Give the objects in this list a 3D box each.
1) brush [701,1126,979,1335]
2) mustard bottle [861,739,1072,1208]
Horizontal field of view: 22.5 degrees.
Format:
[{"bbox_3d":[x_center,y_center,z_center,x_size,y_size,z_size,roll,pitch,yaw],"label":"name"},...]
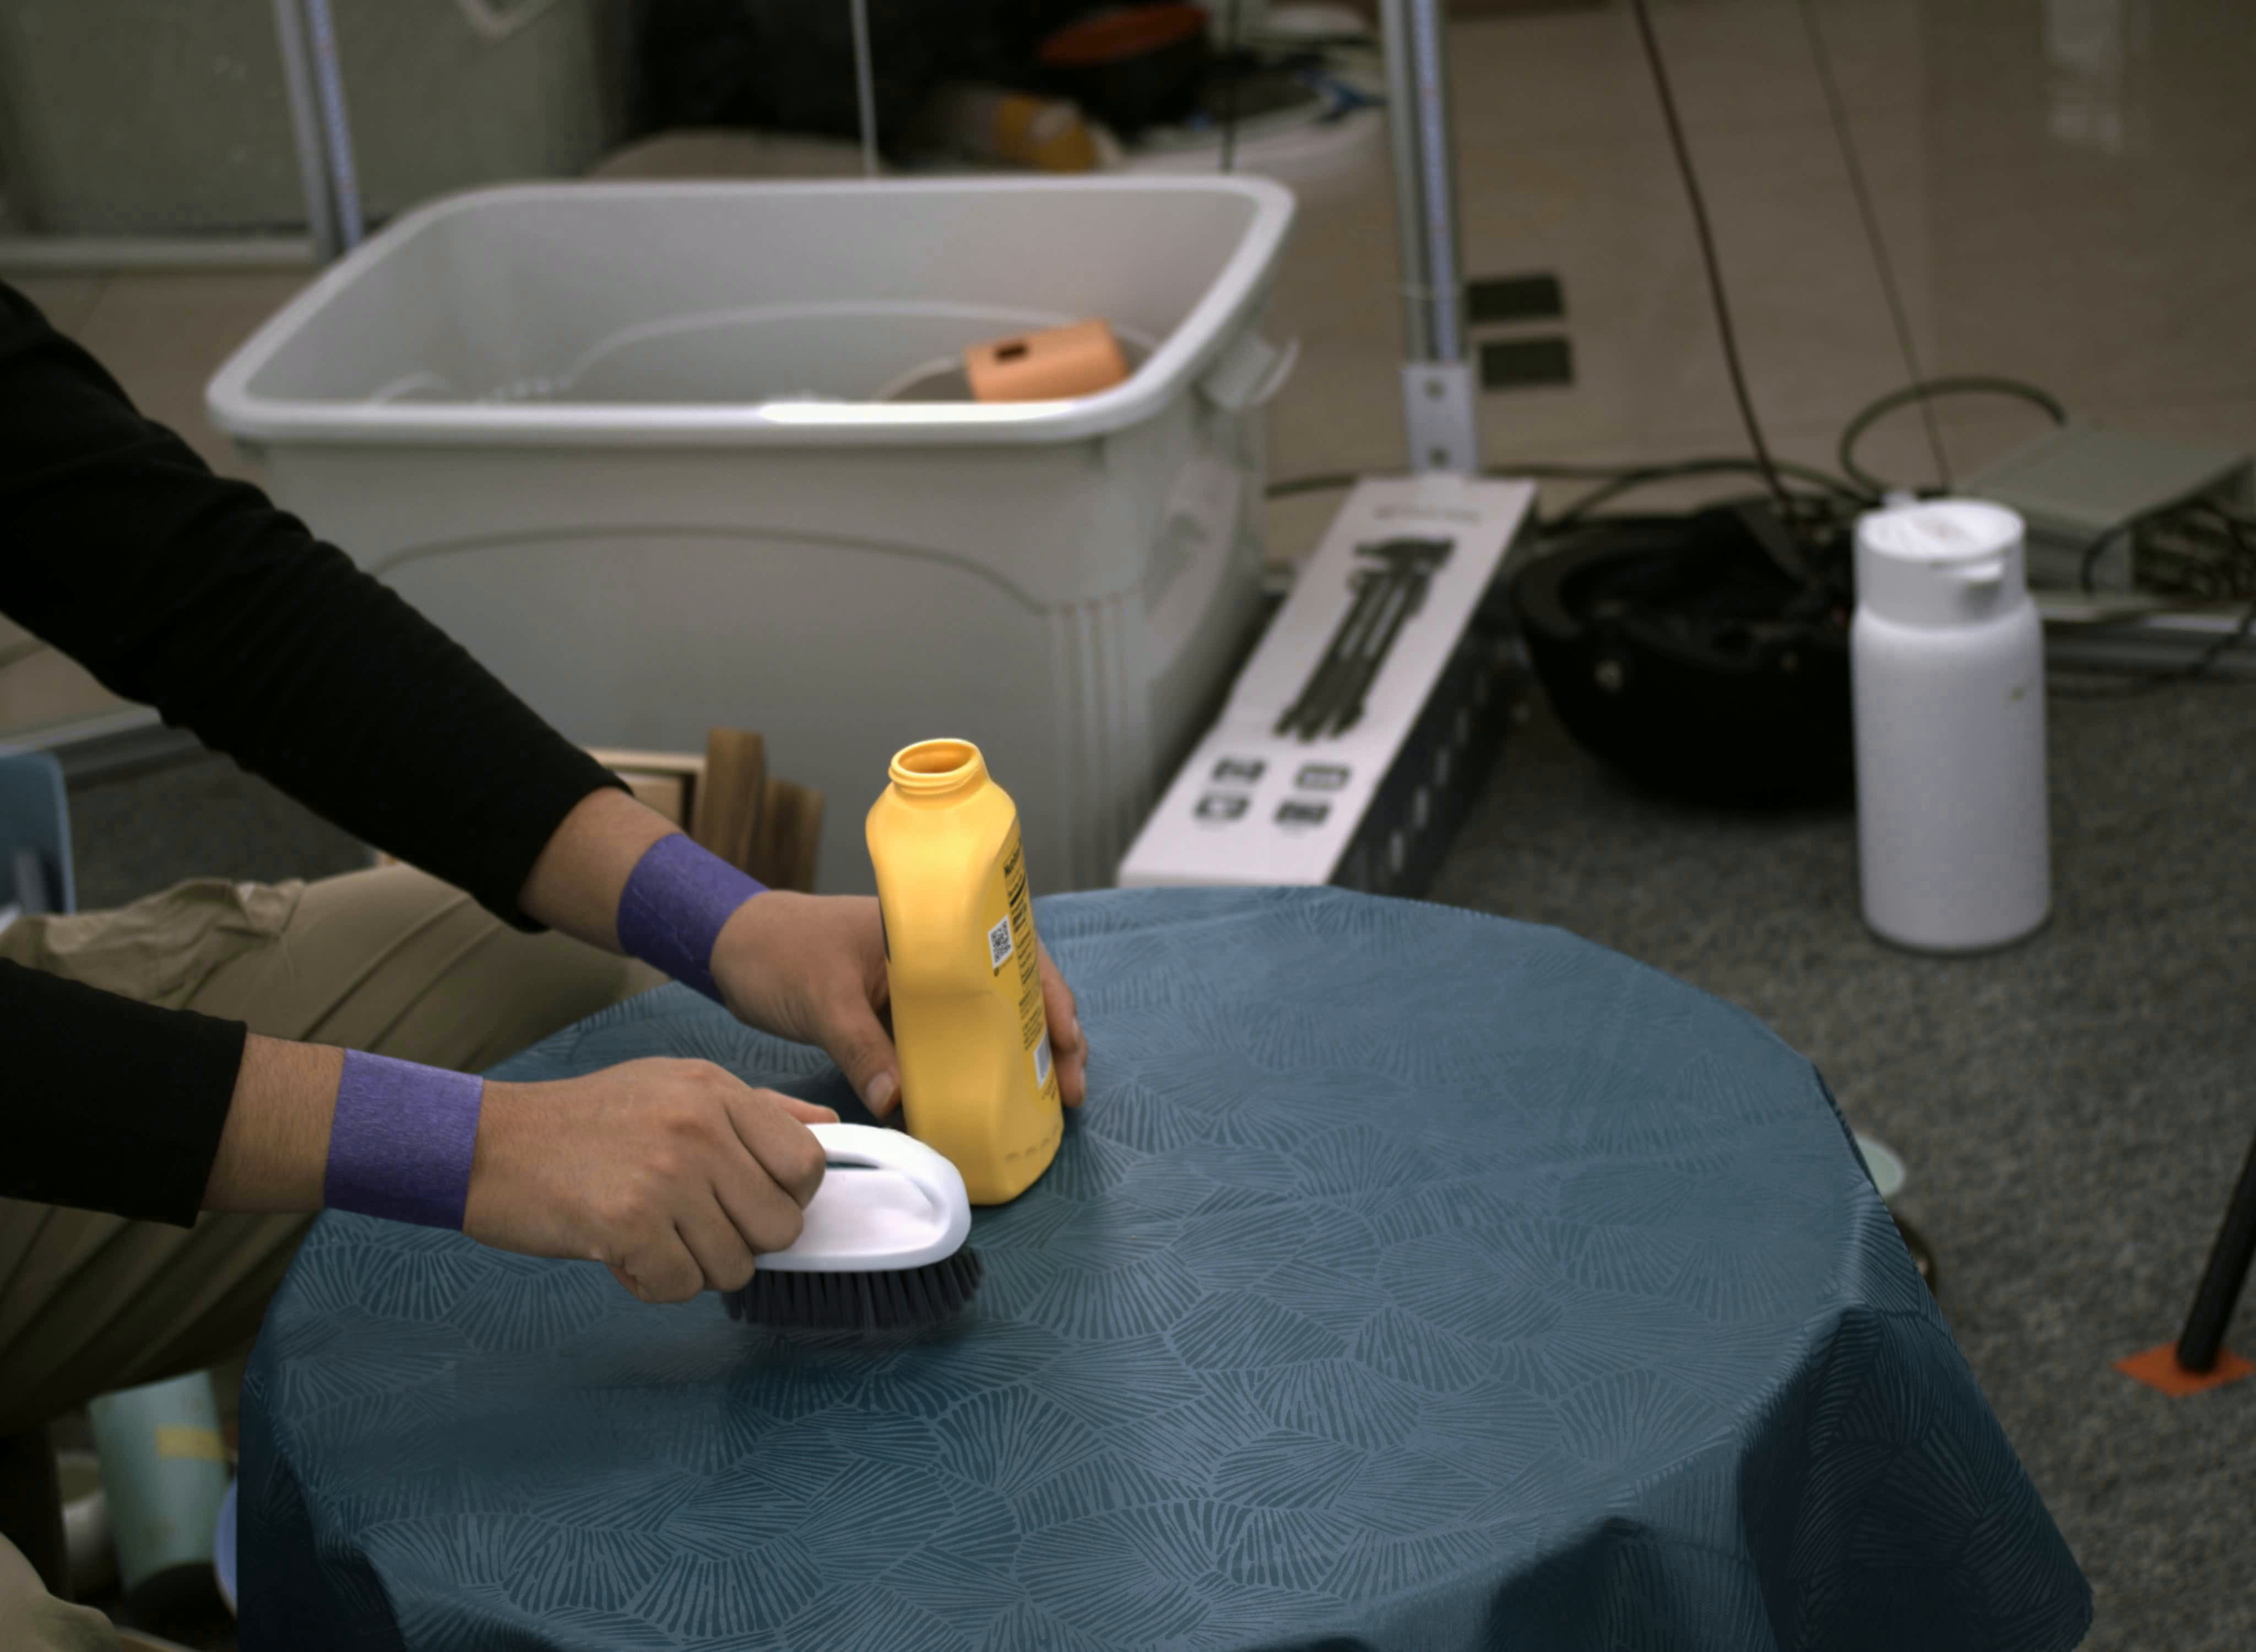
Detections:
[{"bbox_3d":[-0.106,0.141,2.050,0.099,0.074,0.049,2,36,13],"label":"brush"},{"bbox_3d":[-0.062,0.052,2.146,0.059,0.175,0.097,-4,27,10],"label":"mustard bottle"}]
